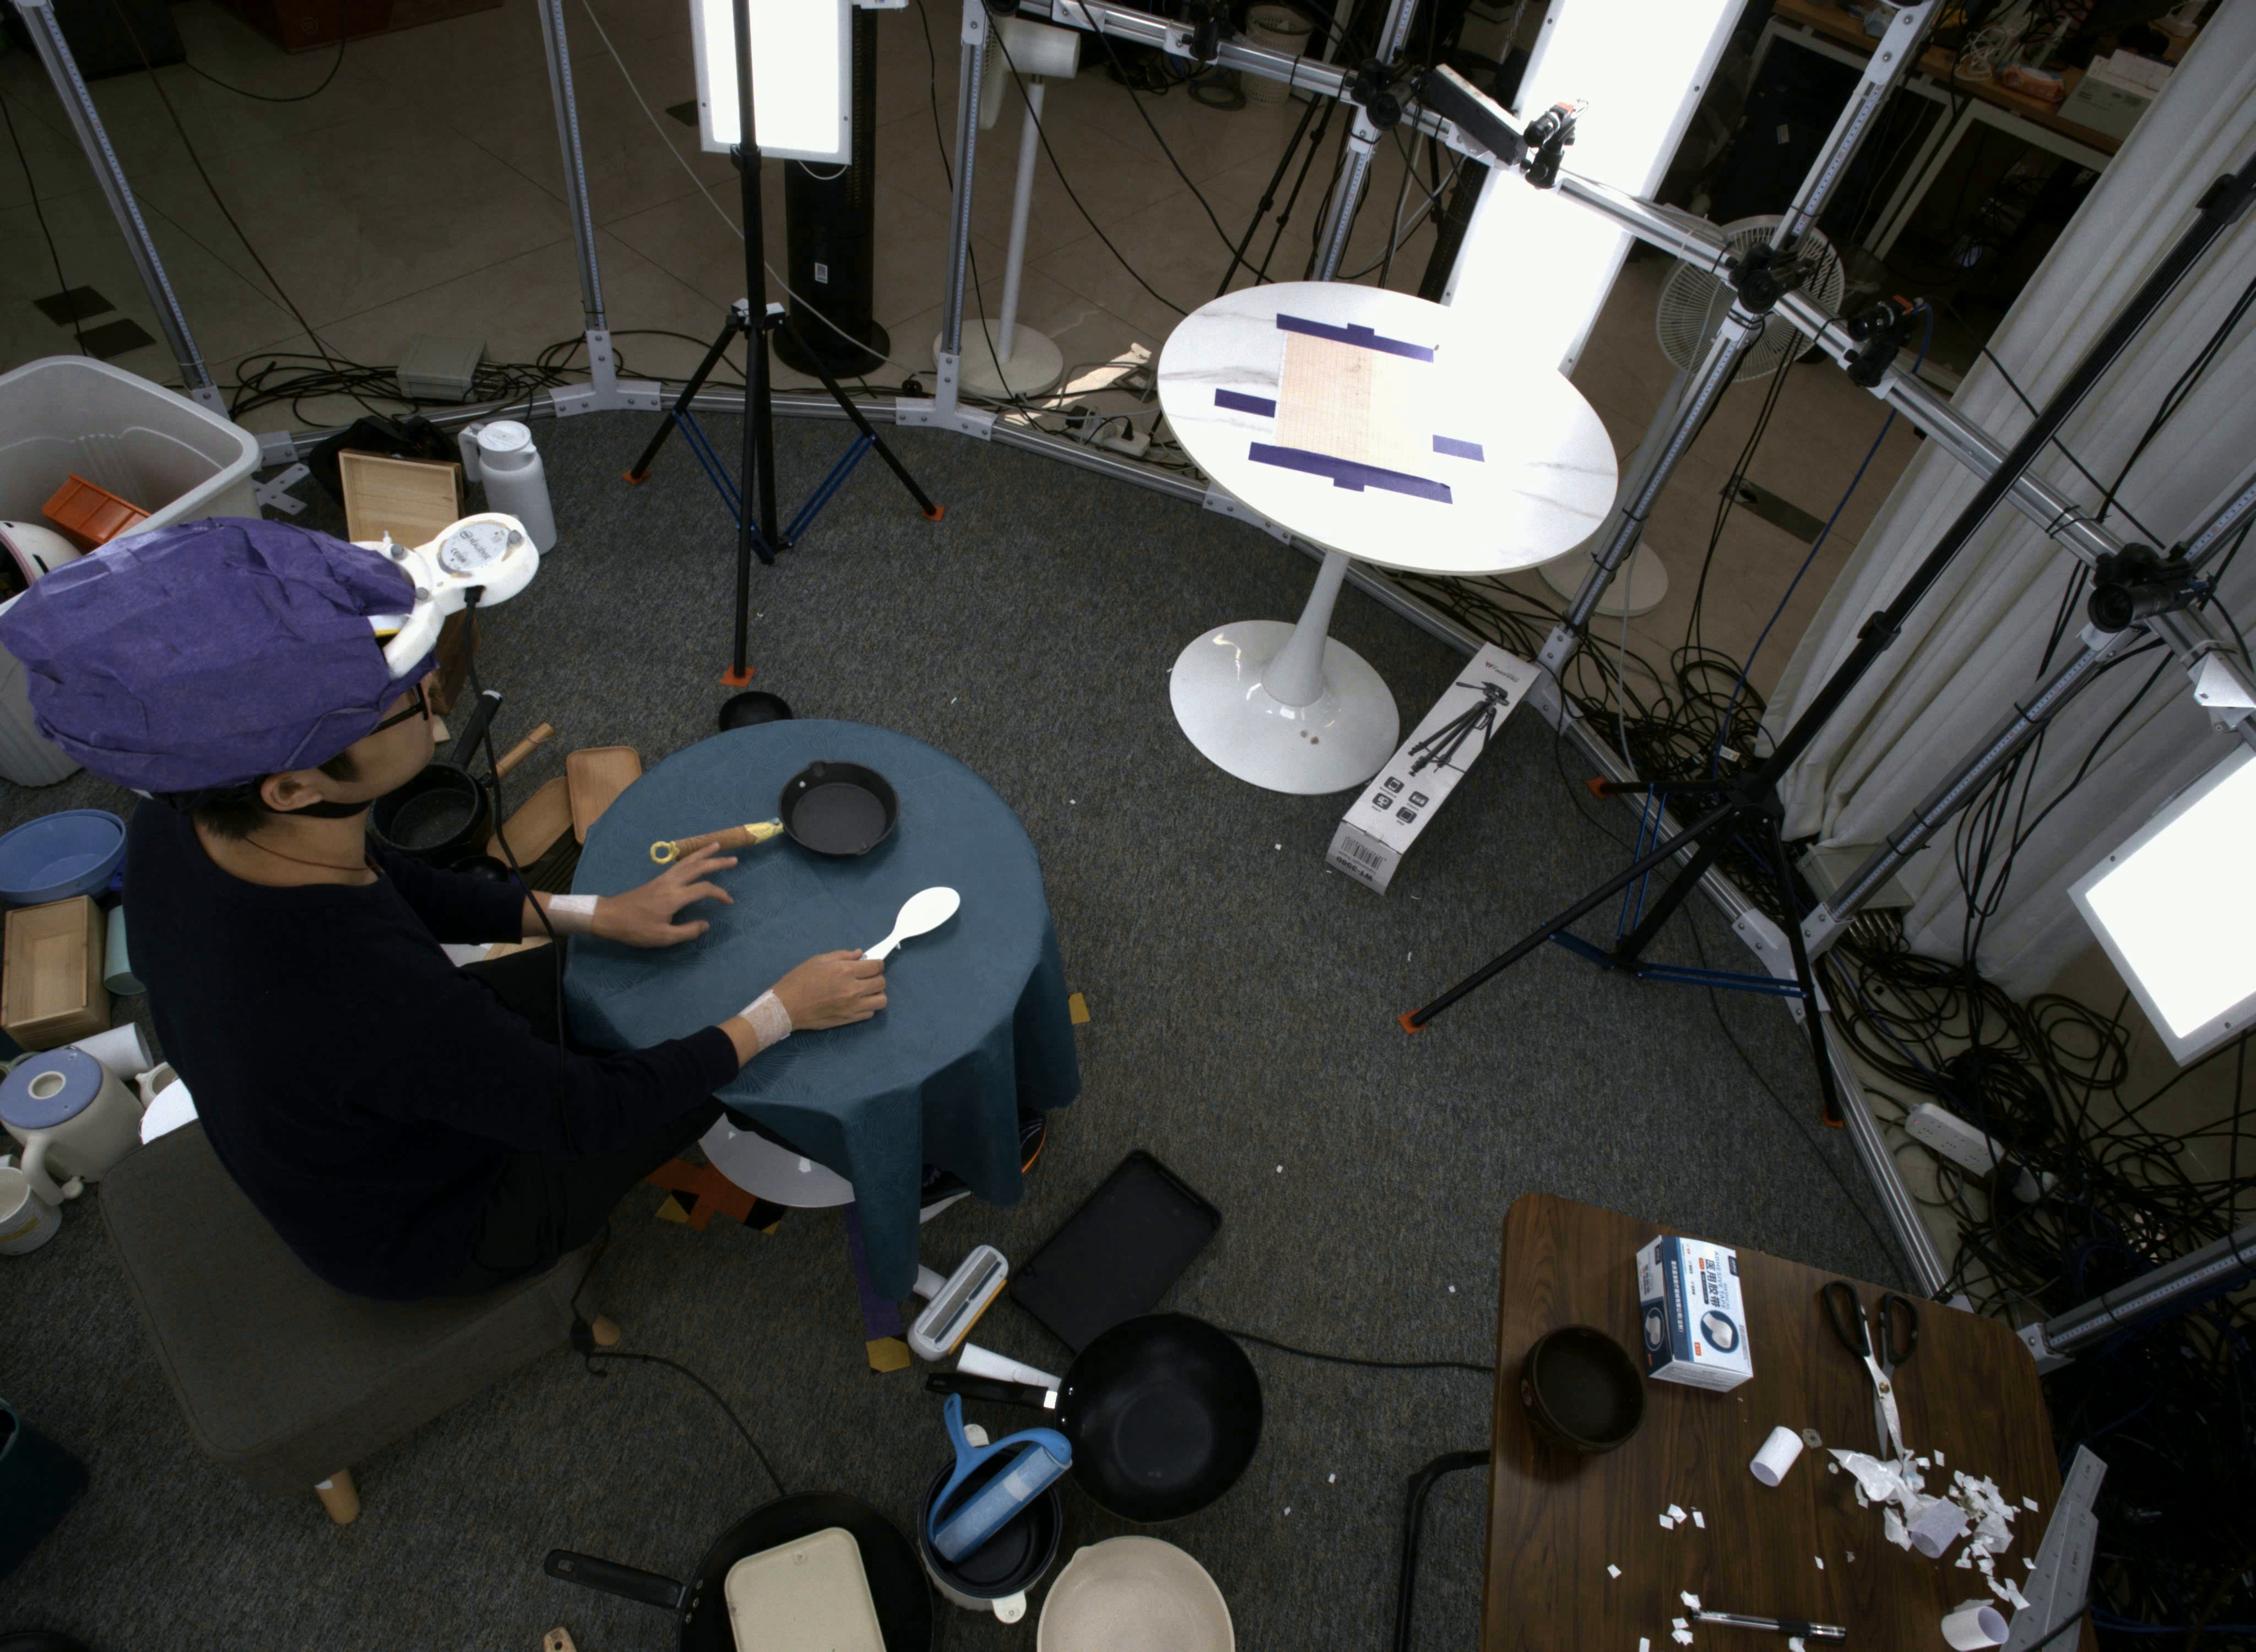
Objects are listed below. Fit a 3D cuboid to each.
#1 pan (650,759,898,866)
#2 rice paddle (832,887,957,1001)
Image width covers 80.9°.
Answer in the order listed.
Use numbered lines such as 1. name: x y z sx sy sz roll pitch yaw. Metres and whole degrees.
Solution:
1. pan: -0.456 0.000 1.673 0.326 0.050 0.165 -17 60 -27
2. rice paddle: -0.290 0.137 1.627 0.066 0.030 0.205 21 48 29
